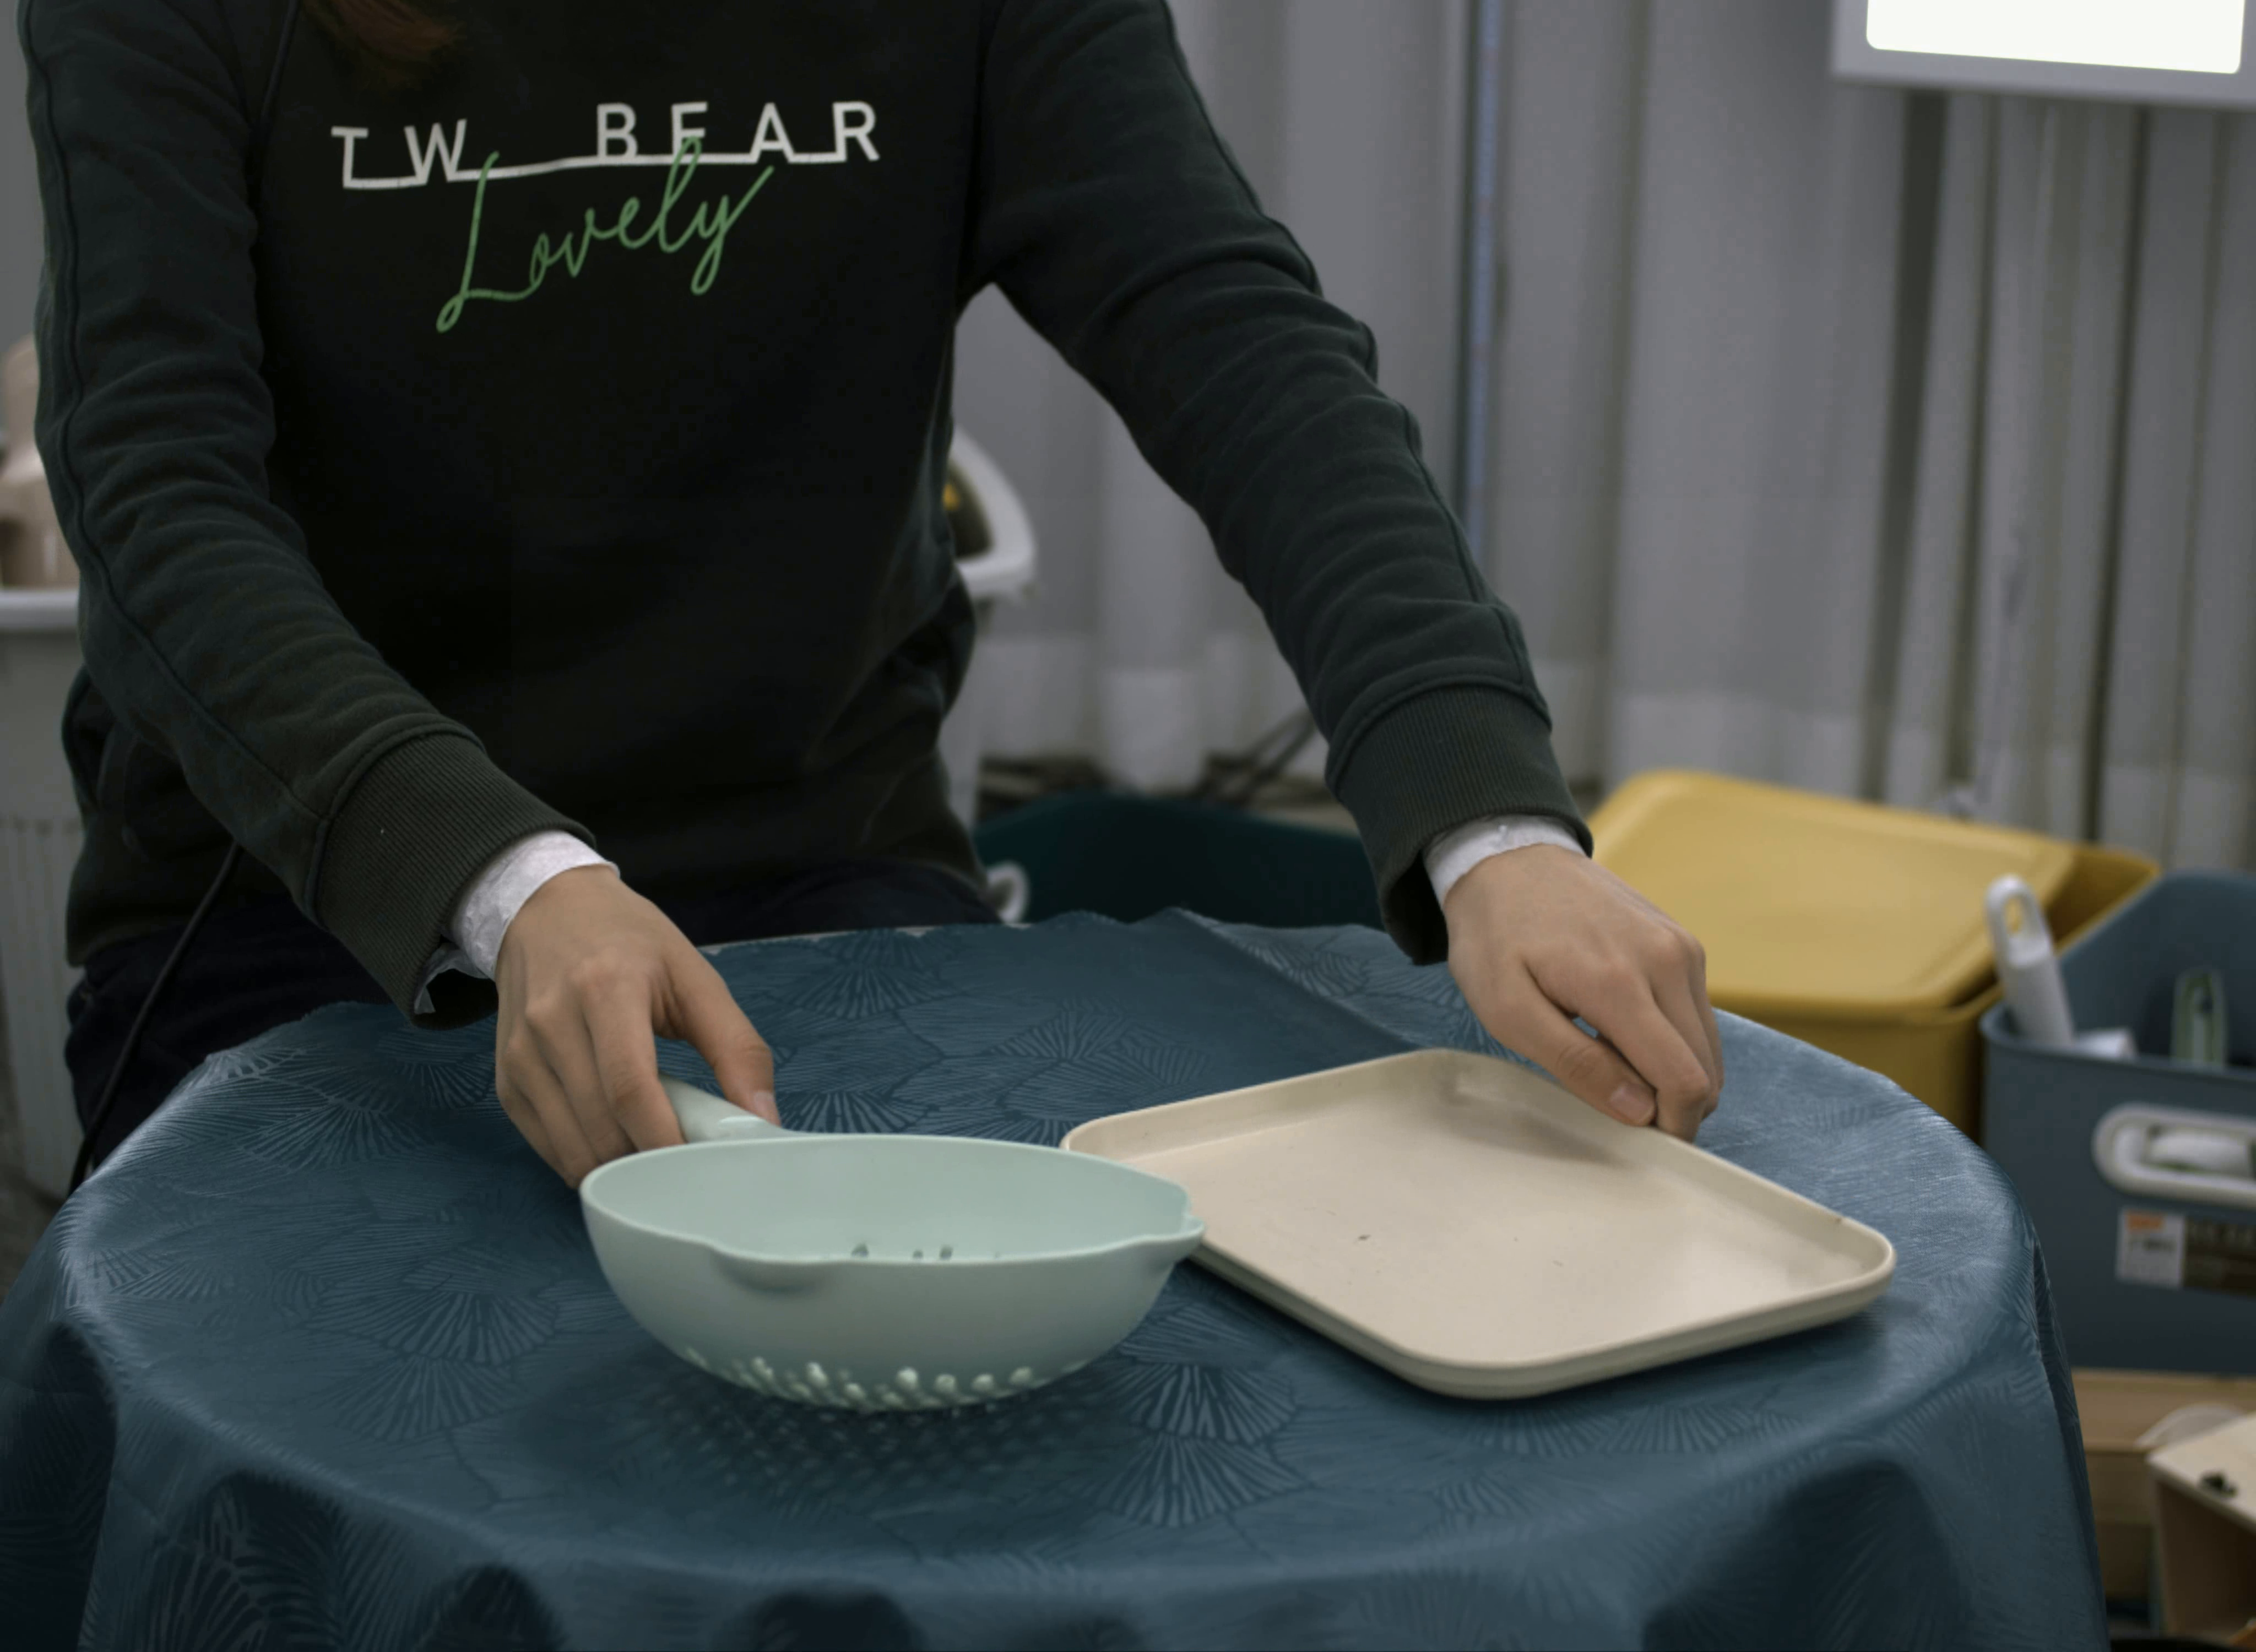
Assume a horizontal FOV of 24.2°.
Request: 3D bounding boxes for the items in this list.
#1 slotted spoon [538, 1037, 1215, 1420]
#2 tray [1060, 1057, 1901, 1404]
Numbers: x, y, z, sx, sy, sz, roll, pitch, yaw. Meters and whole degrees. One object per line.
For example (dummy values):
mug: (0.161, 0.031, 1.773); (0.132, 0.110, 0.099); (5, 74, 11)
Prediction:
slotted spoon: (-0.108, 0.101, 1.535); (0.170, 0.076, 0.354); (0, 16, -26)
tray: (0.101, 0.119, 1.572); (0.172, 0.017, 0.236); (-11, 19, -30)
